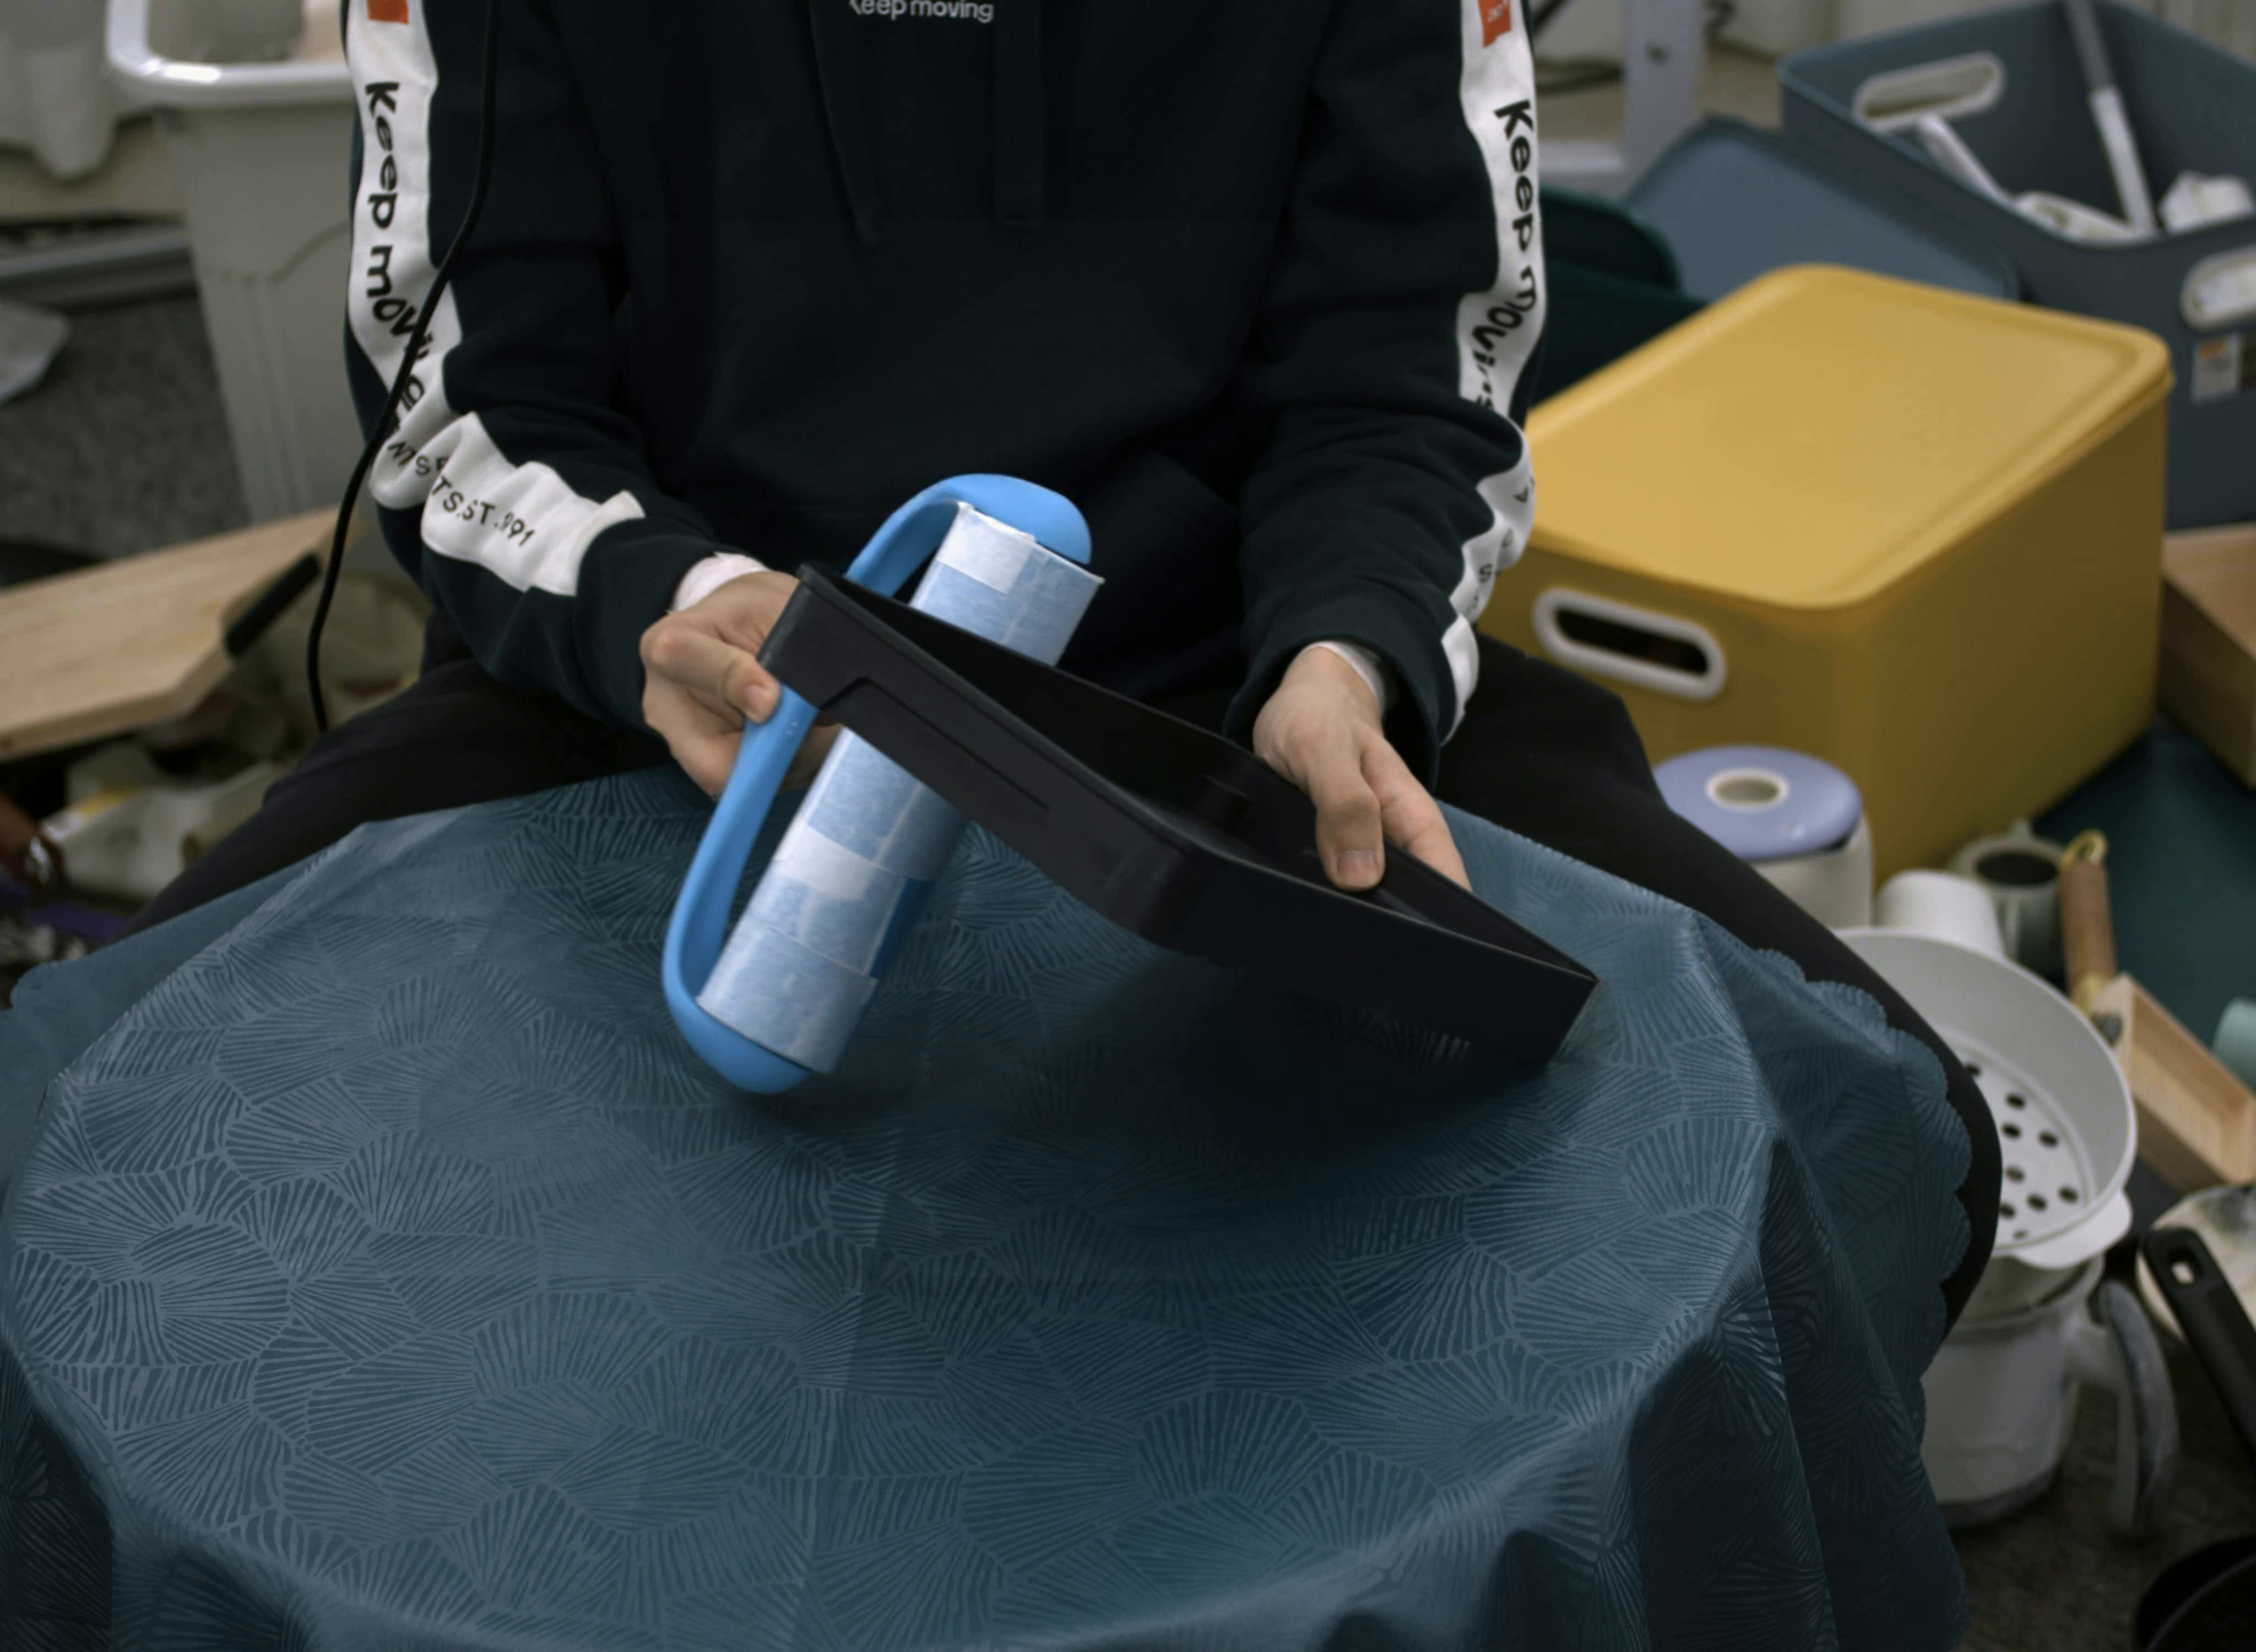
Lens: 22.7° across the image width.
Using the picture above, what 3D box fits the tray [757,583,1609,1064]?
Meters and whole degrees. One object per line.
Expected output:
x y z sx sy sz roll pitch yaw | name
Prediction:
0.023 0.004 1.838 0.184 0.037 0.318 34 8 29 | tray

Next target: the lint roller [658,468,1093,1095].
-0.104 -0.025 1.950 0.067 0.230 0.180 27 -2 -26 | lint roller
